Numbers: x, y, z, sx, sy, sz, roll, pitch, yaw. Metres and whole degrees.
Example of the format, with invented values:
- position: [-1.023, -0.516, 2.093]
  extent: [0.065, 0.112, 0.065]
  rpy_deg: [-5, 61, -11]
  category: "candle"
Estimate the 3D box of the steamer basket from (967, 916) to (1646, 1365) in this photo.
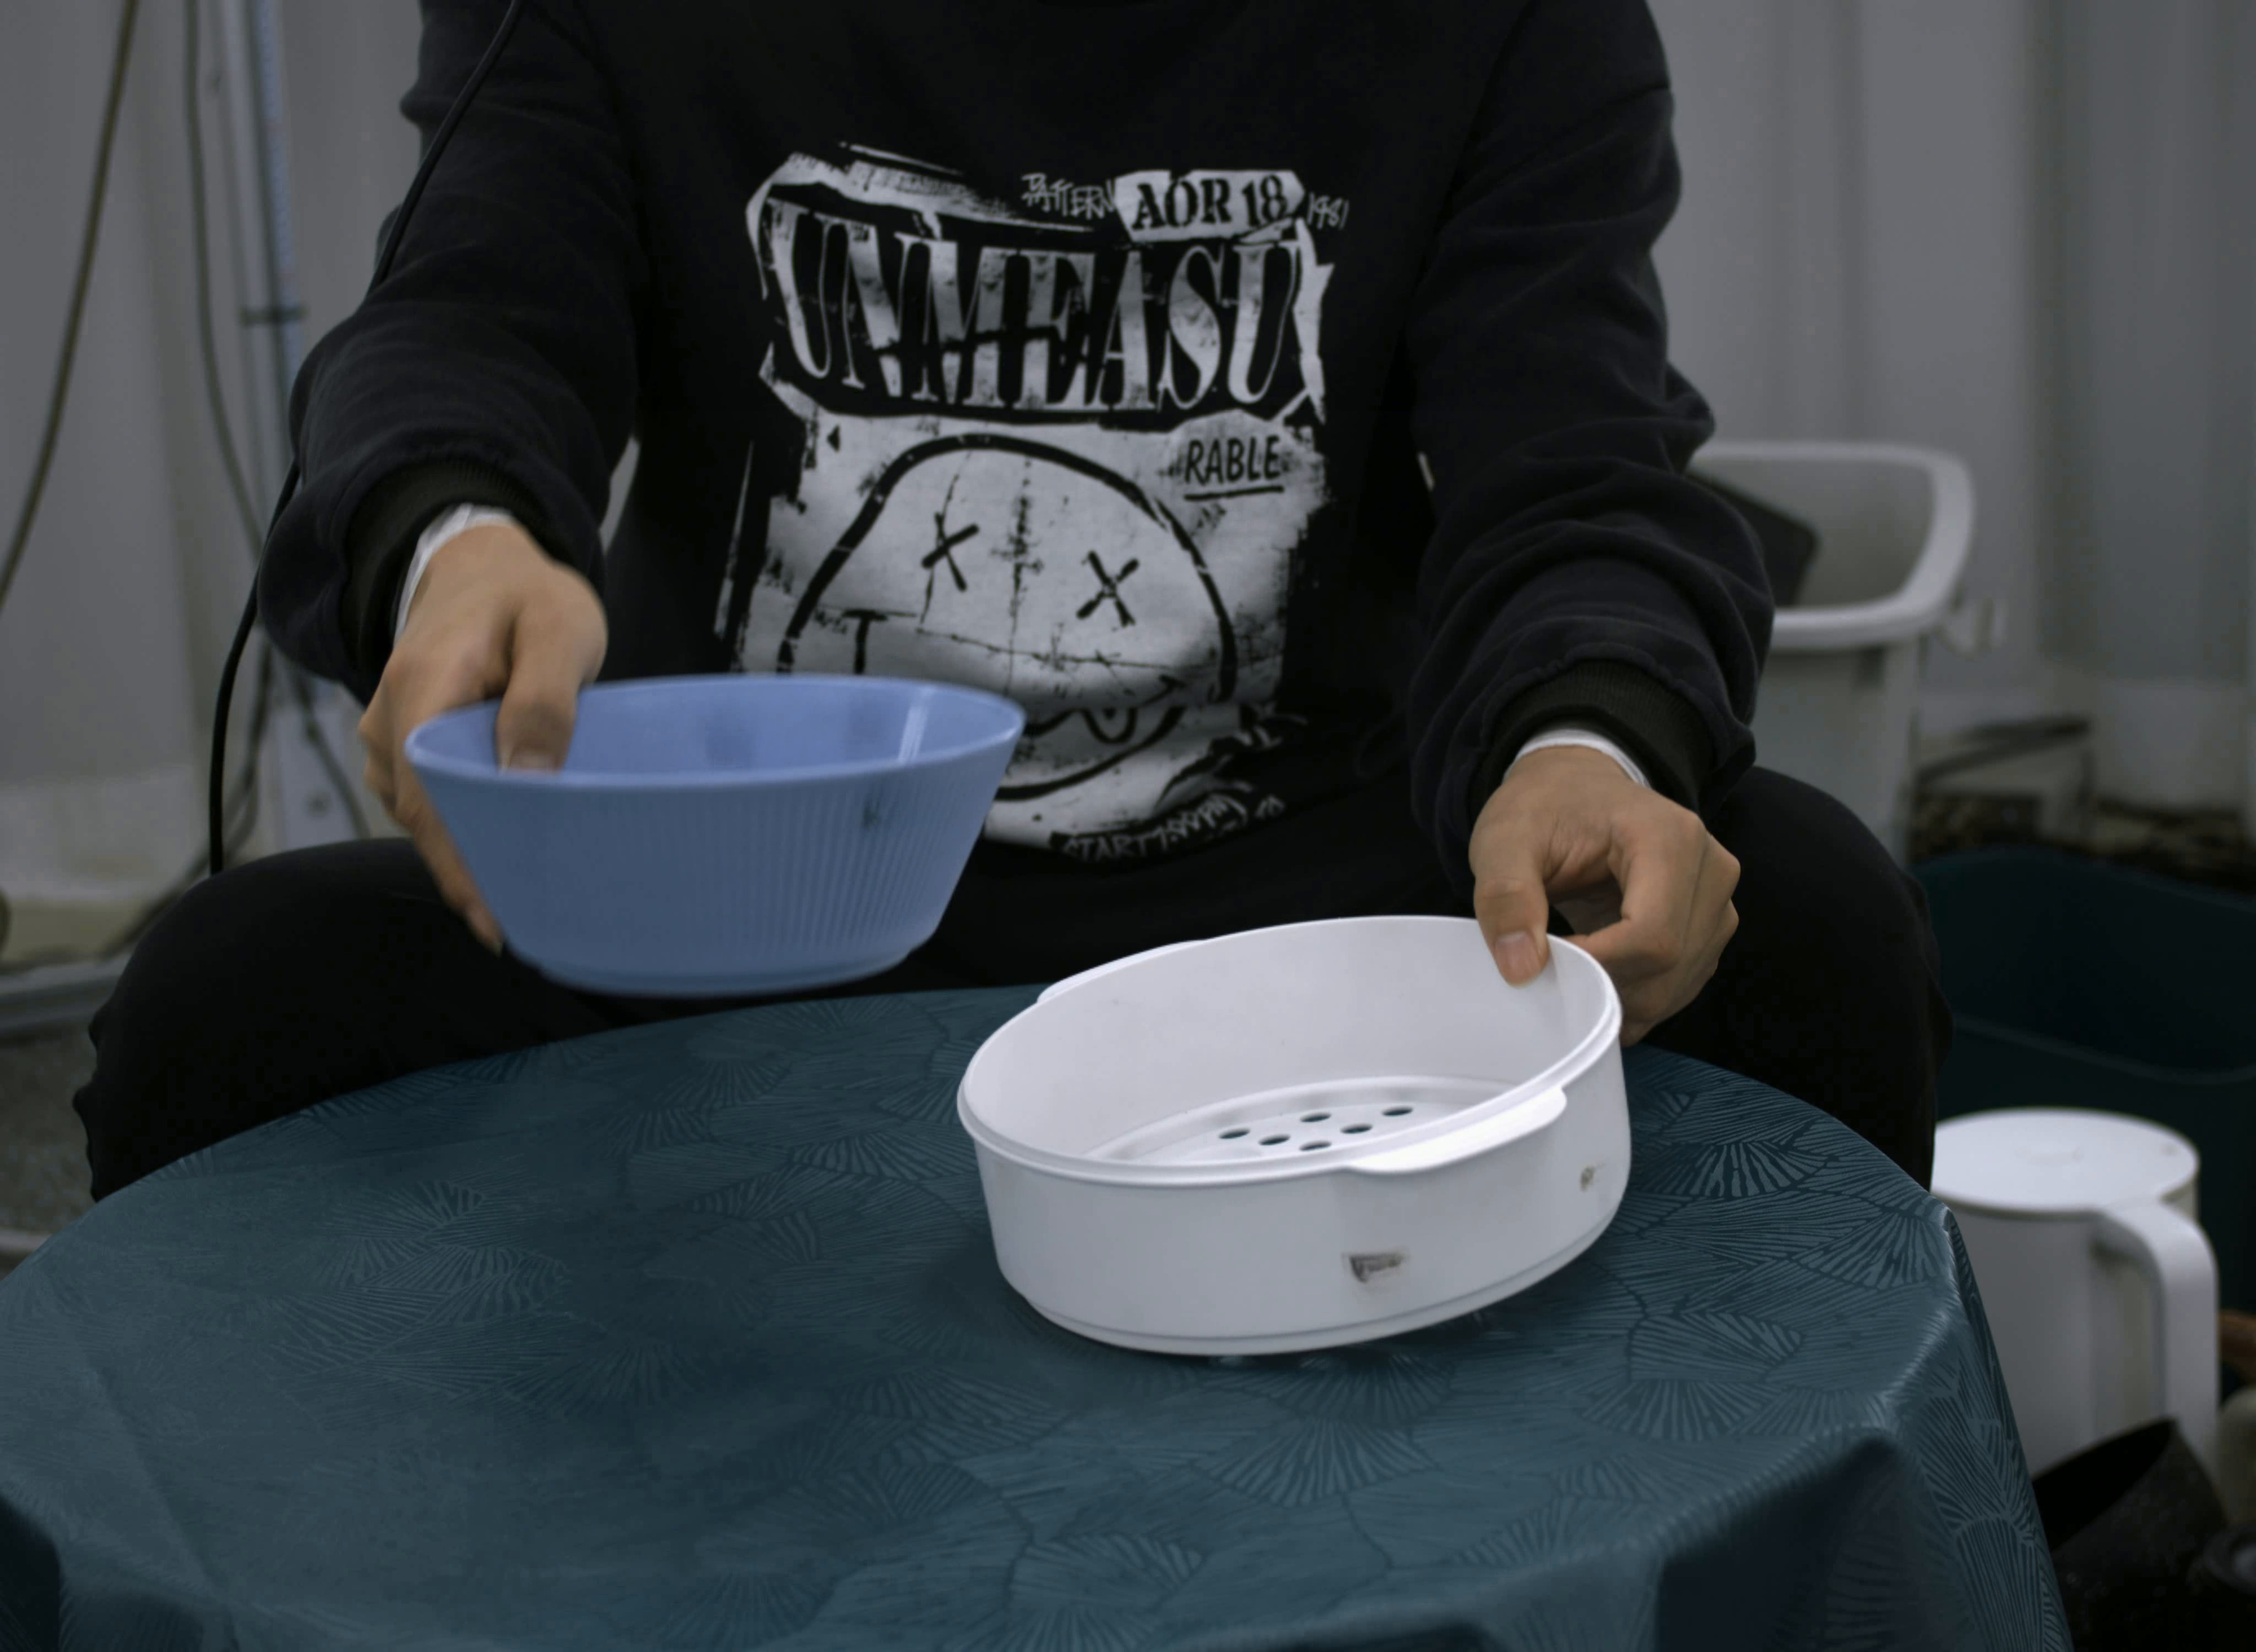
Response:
- position: [0.056, 0.093, 1.626]
  extent: [0.201, 0.069, 0.232]
  rpy_deg: [-18, 21, -25]
  category: "steamer basket"

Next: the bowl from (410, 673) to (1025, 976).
- position: [-0.116, -0.001, 1.561]
  extent: [0.175, 0.070, 0.177]
  rpy_deg: [0, 9, 0]
  category: "bowl"
